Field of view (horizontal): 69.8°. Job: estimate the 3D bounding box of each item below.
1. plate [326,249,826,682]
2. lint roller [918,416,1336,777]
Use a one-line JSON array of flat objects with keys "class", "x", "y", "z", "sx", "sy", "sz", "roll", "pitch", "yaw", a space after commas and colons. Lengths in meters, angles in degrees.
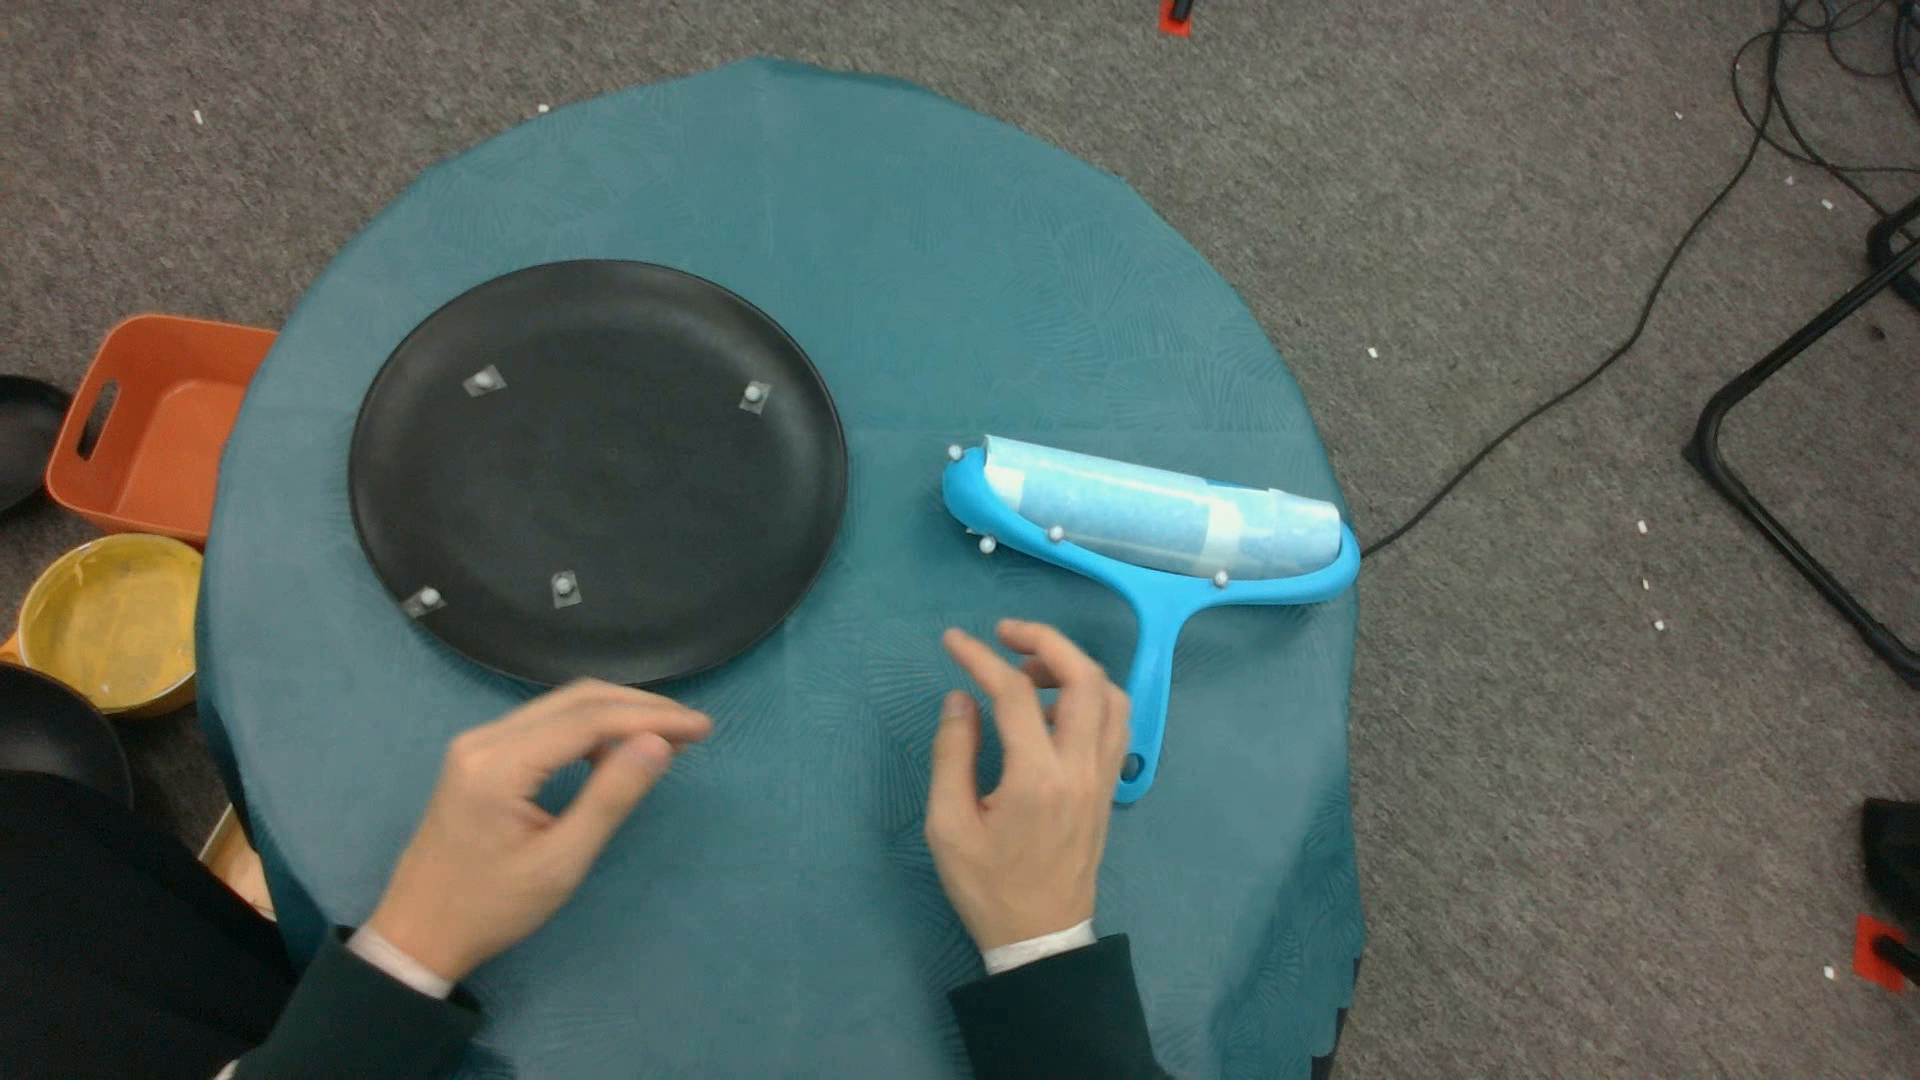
[{"class": "plate", "x": -0.192, "y": -0.041, "z": 0.705, "sx": 0.244, "sy": 0.023, "sz": 0.245, "roll": 5, "pitch": 66, "yaw": -10}, {"class": "lint roller", "x": 0.088, "y": 0.028, "z": 0.715, "sx": 0.229, "sy": 0.067, "sz": 0.181, "roll": 7, "pitch": 65, "yaw": -10}]
